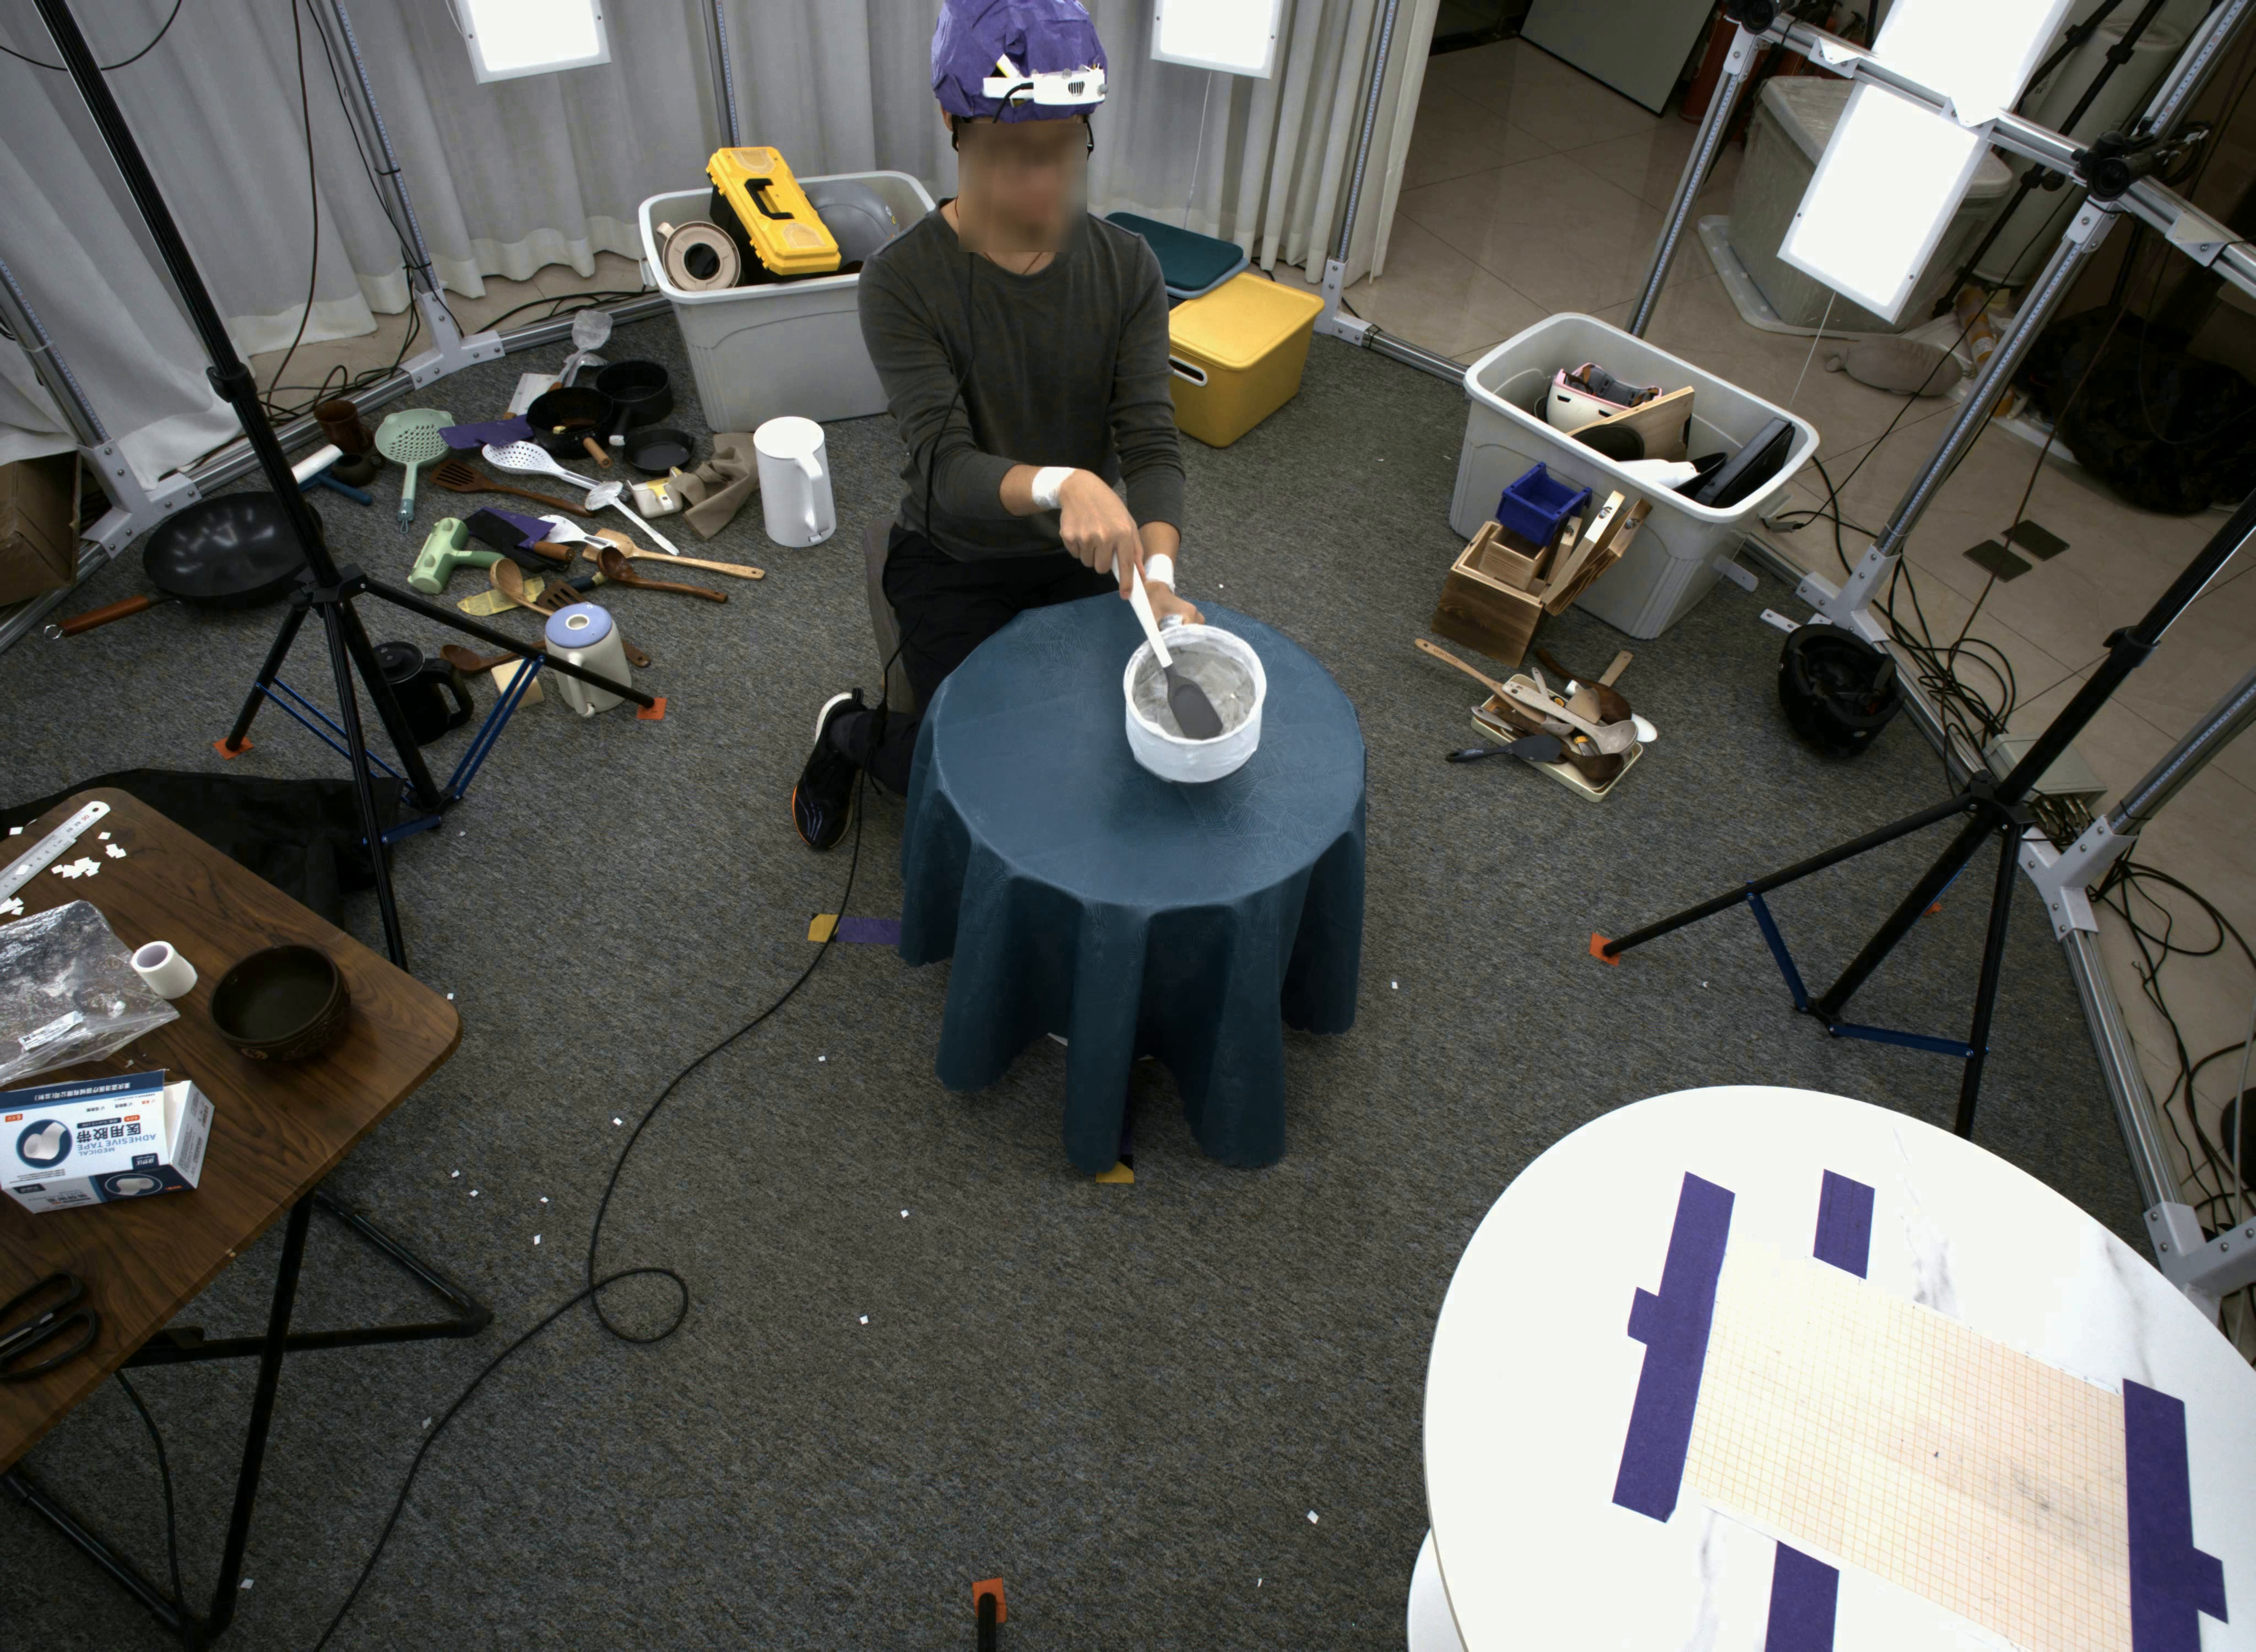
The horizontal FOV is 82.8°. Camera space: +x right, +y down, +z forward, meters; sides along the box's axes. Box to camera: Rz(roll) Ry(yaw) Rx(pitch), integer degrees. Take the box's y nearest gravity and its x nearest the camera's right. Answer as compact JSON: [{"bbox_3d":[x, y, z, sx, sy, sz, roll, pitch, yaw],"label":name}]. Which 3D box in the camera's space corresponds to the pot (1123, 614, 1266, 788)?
[{"bbox_3d":[0.076,-0.172,1.652,0.178,0.134,0.238,-13,63,-5],"label":"pot"}]

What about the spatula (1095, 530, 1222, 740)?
[{"bbox_3d":[0.036,-0.233,1.608,0.059,0.284,0.032,-31,15,-17],"label":"spatula"}]
